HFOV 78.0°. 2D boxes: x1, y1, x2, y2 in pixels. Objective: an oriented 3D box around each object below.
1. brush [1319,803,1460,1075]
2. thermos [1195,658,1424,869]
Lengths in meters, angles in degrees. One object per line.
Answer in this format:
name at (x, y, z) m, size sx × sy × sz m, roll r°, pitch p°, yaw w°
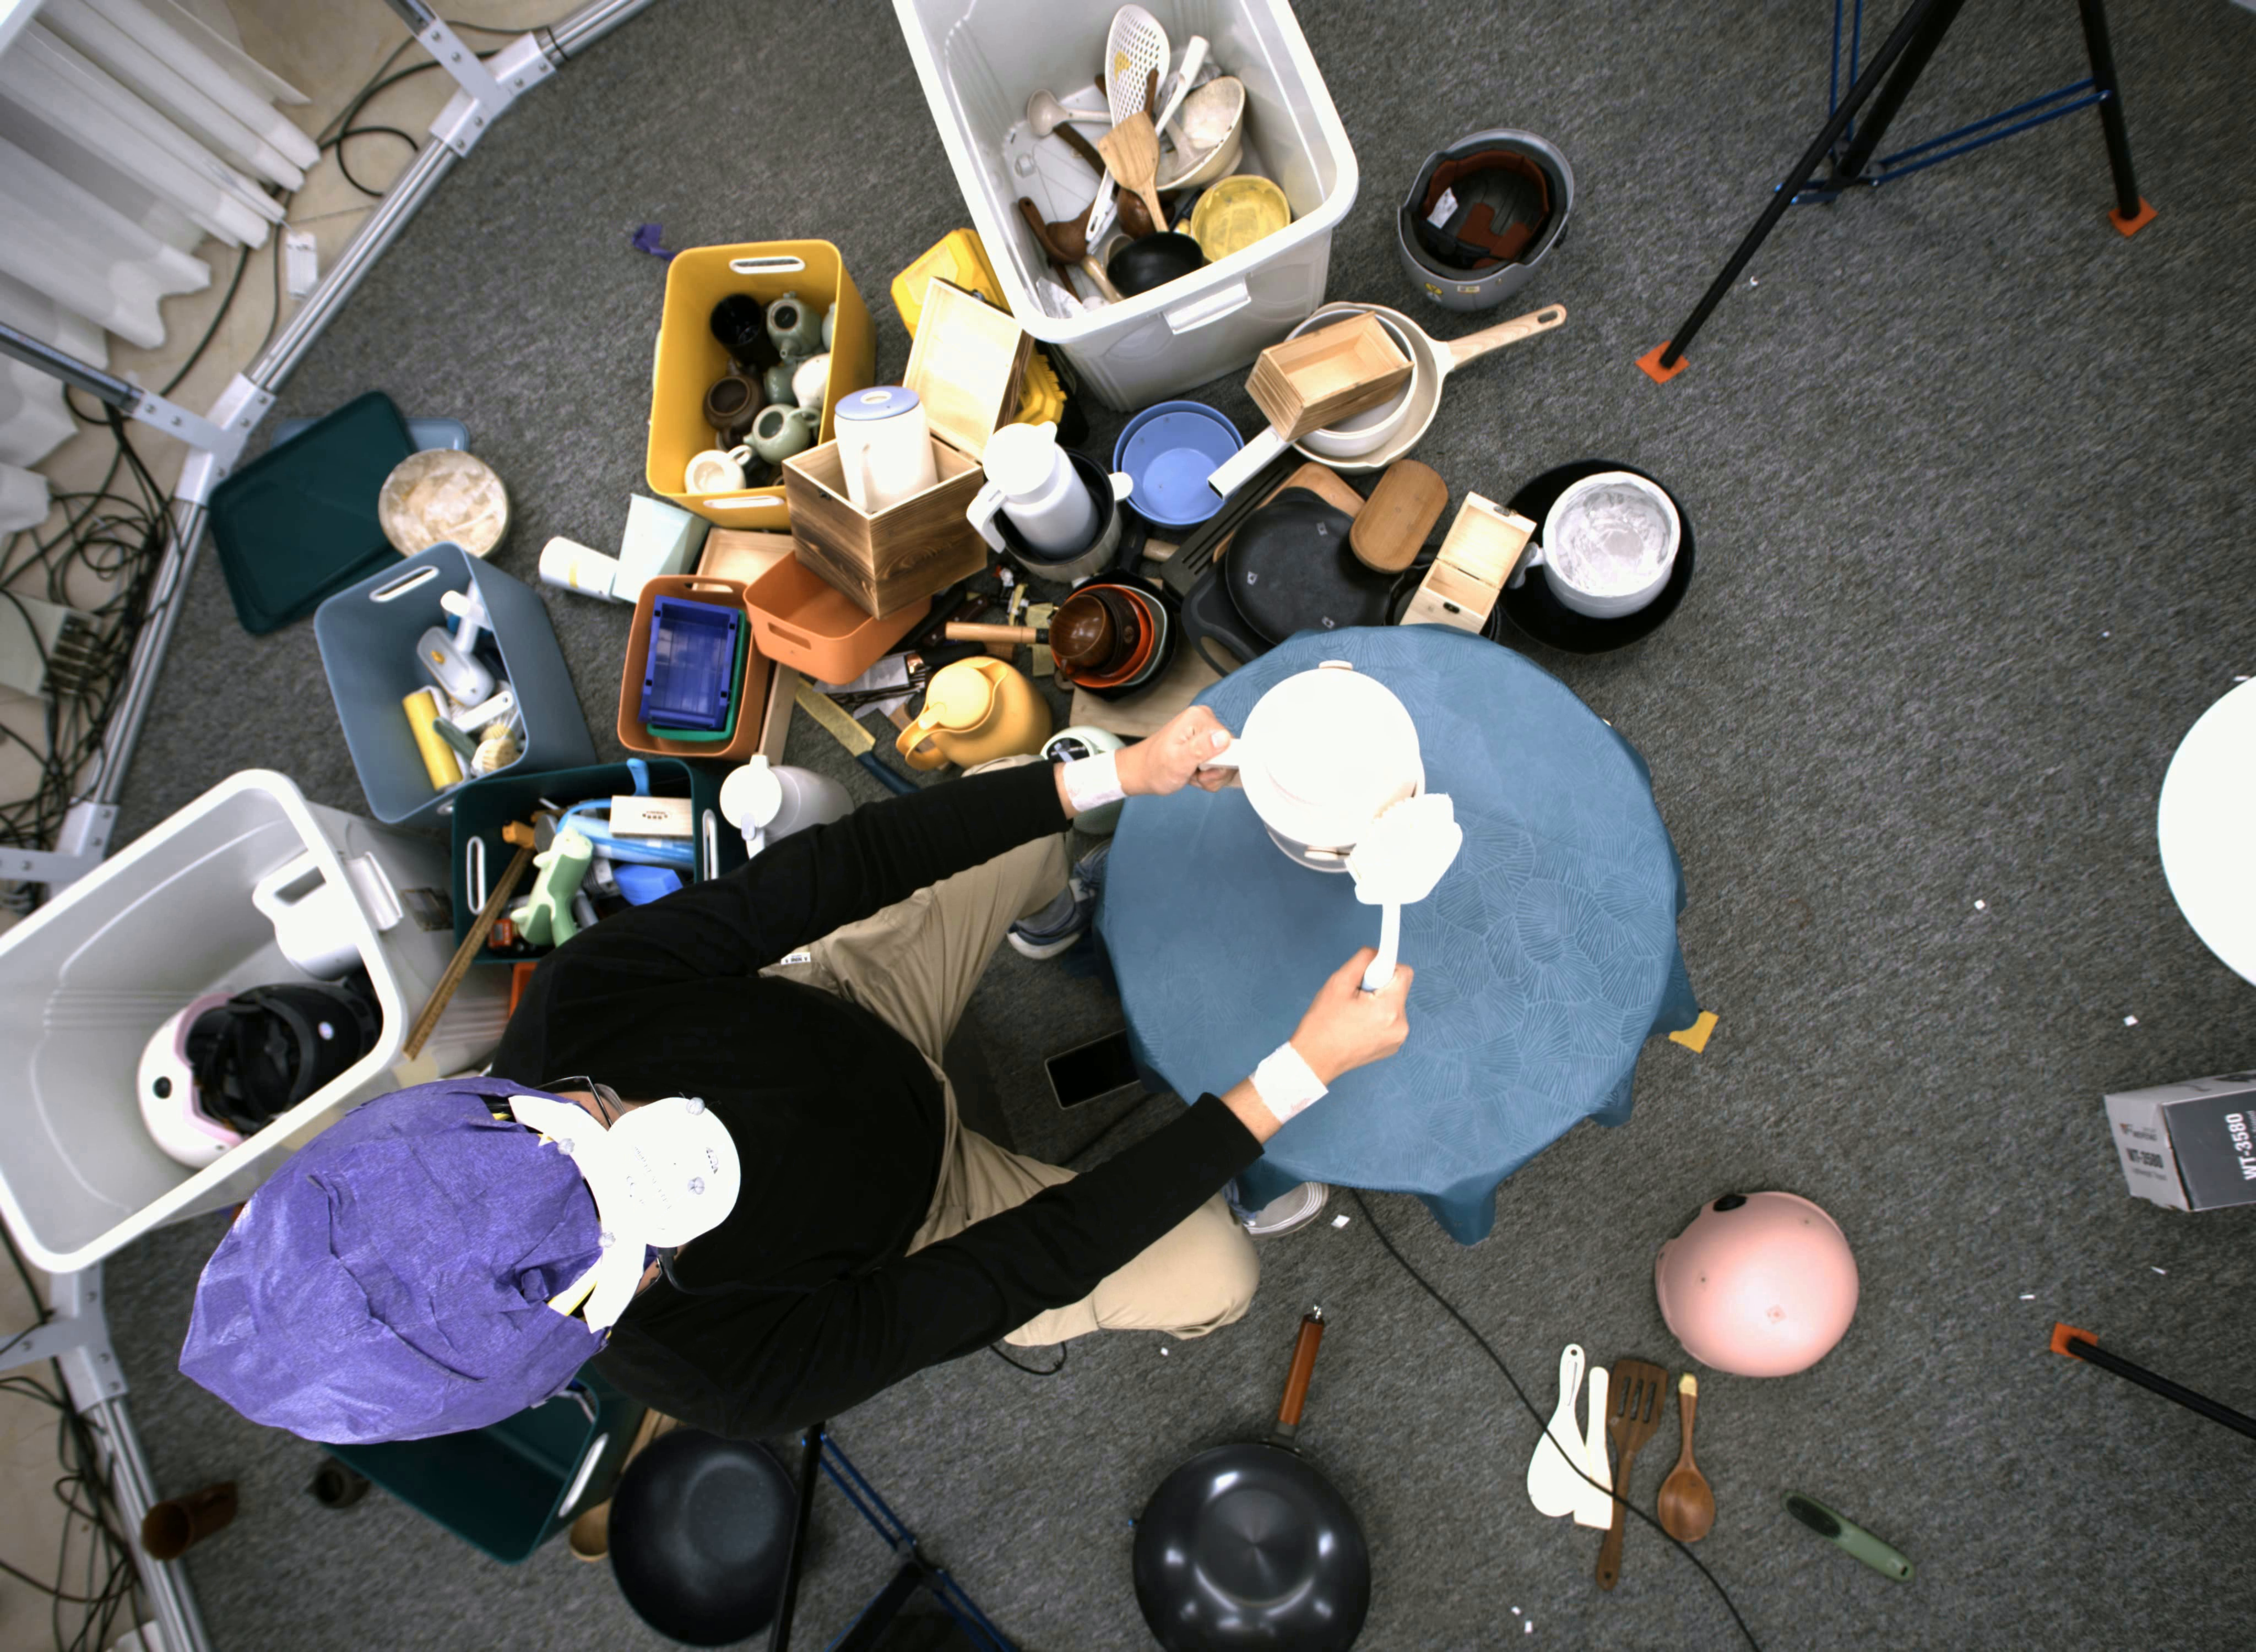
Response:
brush at (0.213, 0.094, 1.234) m, size 0.083 × 0.082 × 0.334 m, roll 26°, pitch 134°, yaw 11°
thermos at (0.174, -0.055, 1.284) m, size 0.208 × 0.406 × 0.174 m, roll 3°, pitch 86°, yaw 10°
